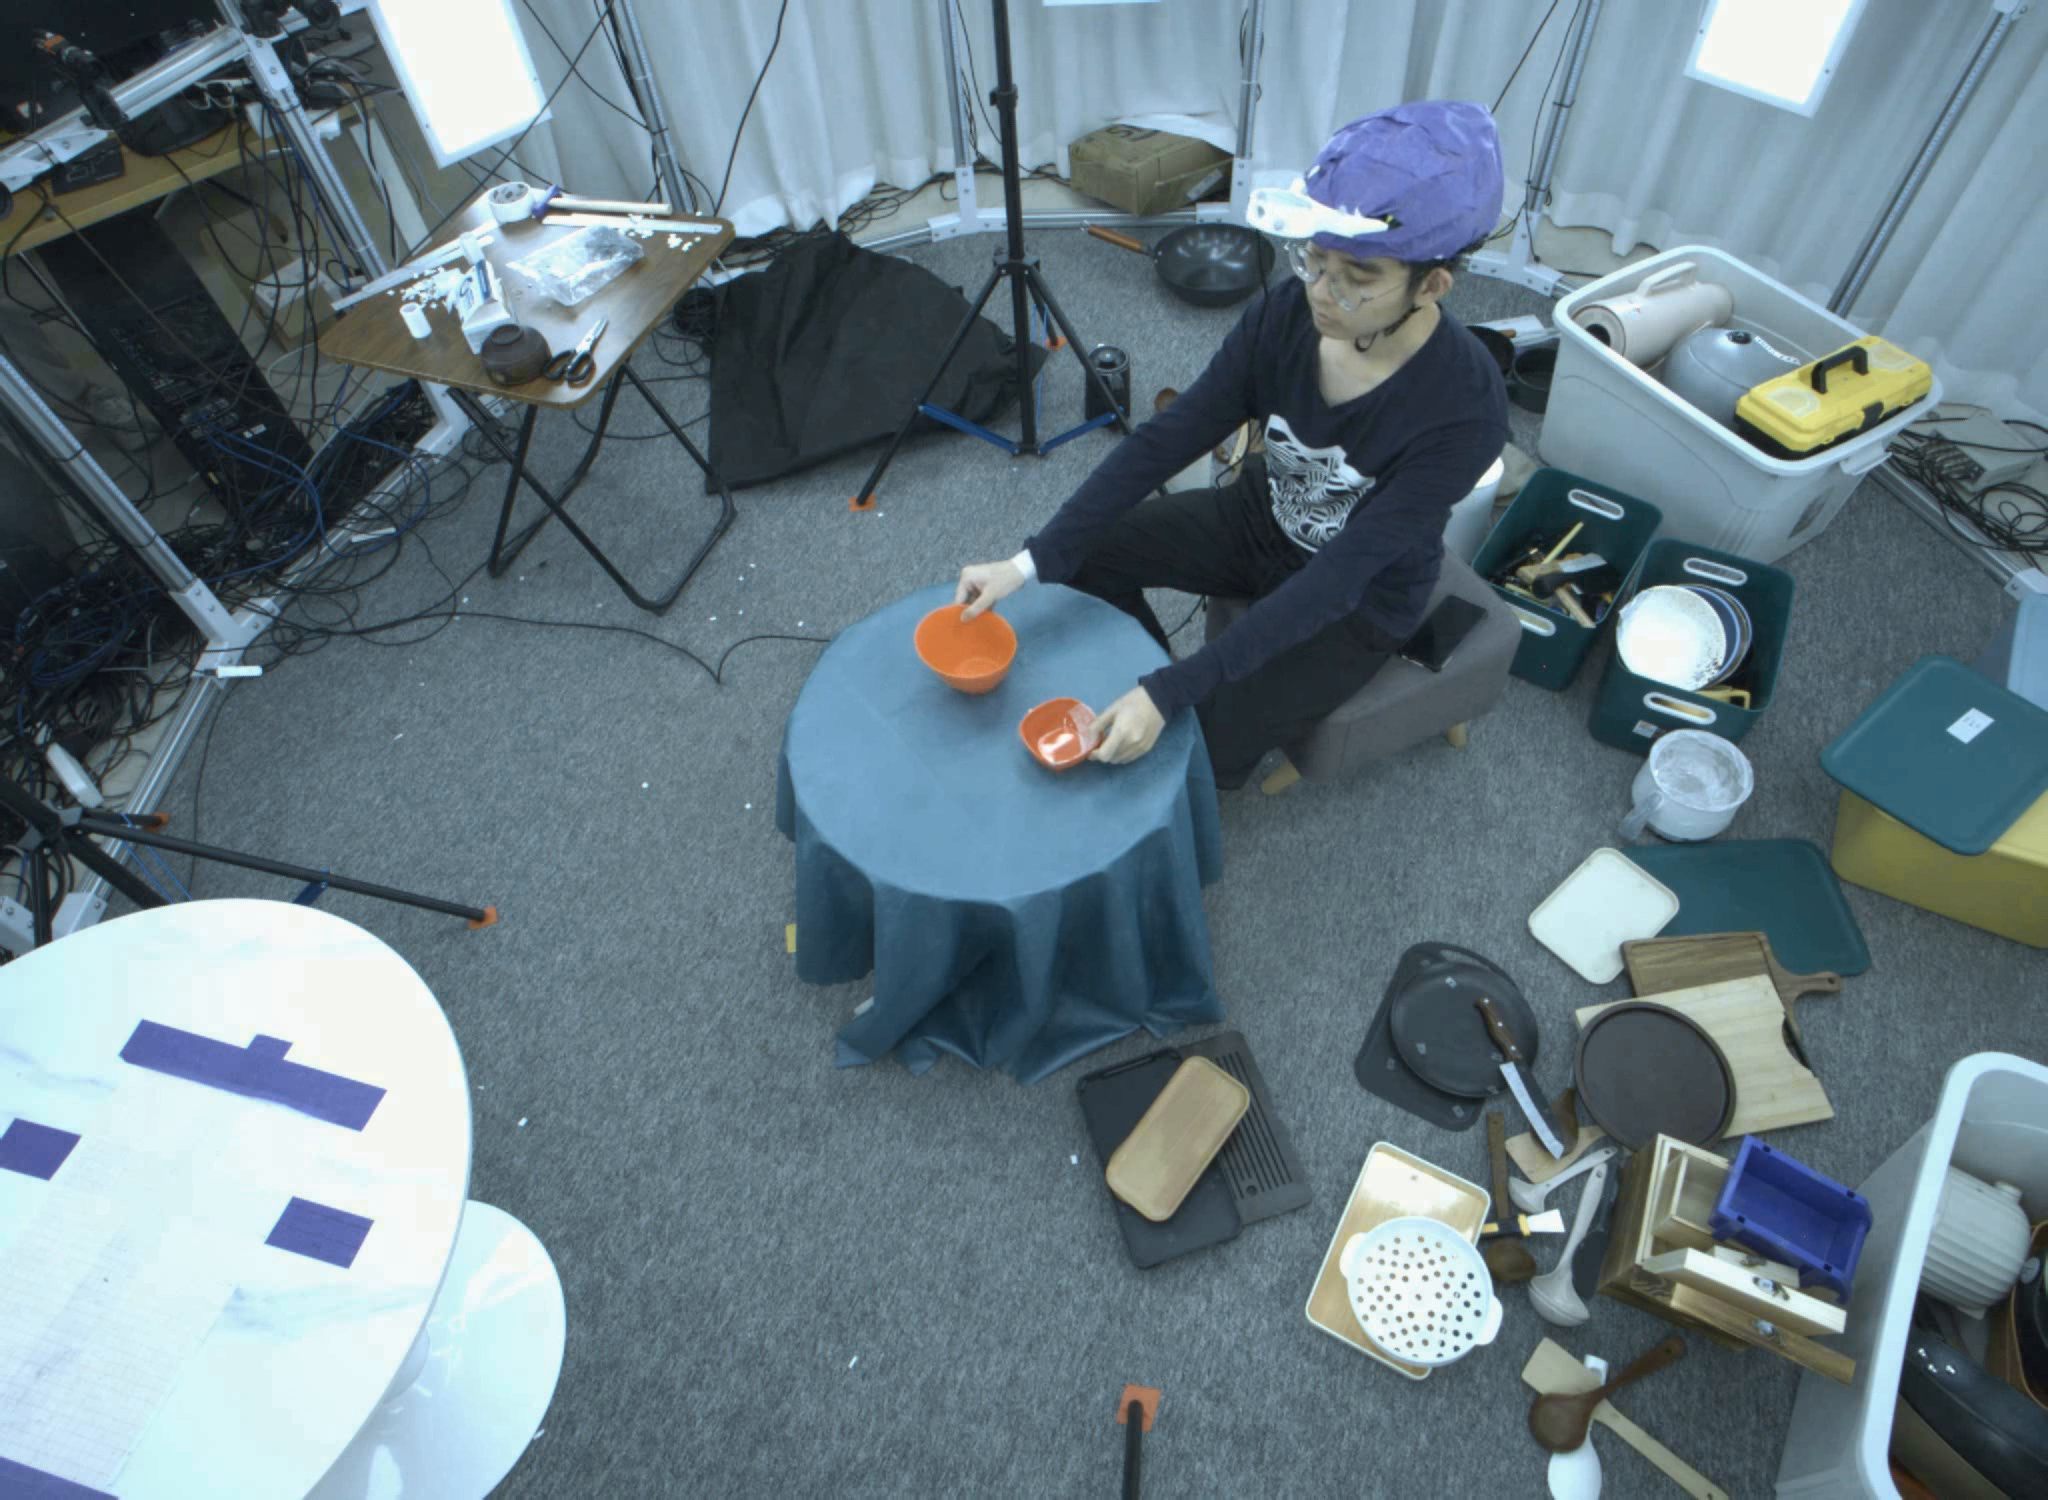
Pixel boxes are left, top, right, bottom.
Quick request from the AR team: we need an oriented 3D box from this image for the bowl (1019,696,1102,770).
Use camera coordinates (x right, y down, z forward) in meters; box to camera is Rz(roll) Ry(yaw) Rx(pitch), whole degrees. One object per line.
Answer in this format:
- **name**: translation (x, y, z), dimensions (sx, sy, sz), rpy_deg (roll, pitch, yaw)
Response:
- **bowl**: translation (0.054, -0.017, 1.772), dimensions (0.119, 0.052, 0.118), rpy_deg (-2, 55, 3)

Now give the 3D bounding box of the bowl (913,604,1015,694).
- **bowl**: translation (-0.086, -0.138, 1.834), dimensions (0.148, 0.106, 0.146), rpy_deg (-1, 54, 2)
